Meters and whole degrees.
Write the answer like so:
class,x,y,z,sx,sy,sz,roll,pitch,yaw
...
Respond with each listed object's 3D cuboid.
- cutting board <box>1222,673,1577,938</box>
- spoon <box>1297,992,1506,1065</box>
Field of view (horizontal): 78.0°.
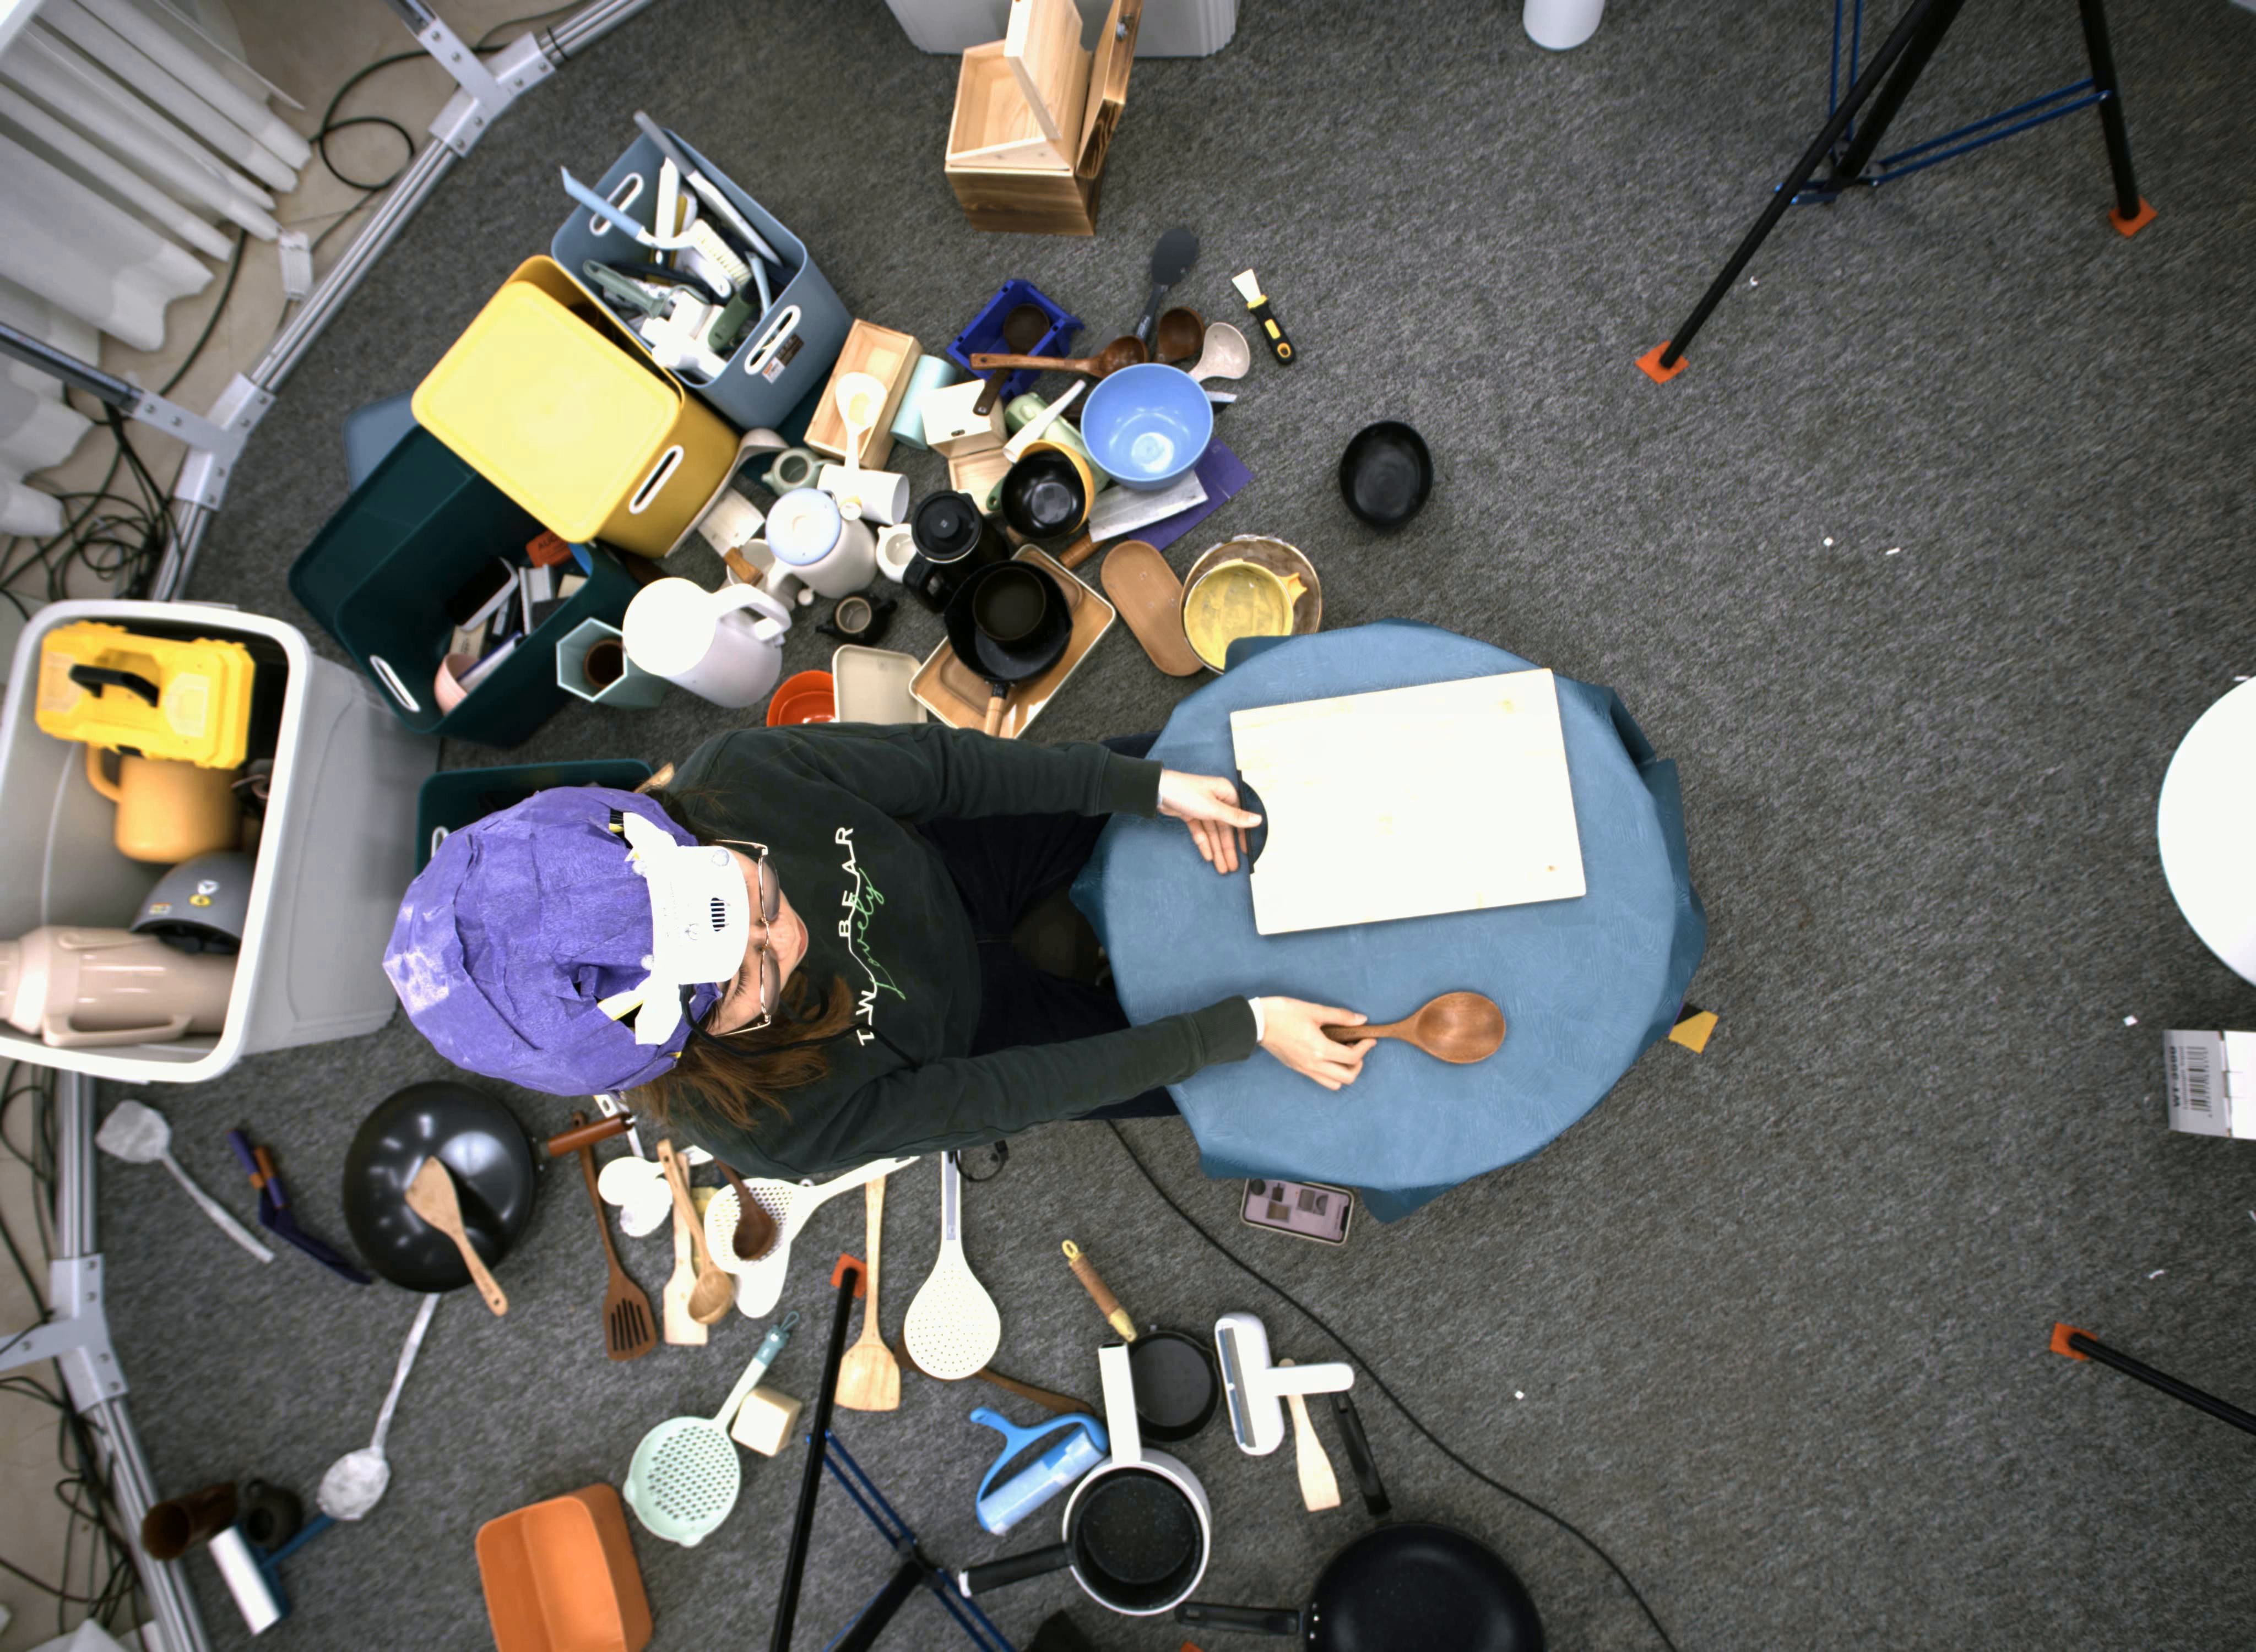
class,x,y,z,sx,sy,sz,roll,pitch,yaw
cutting board,0.286,-0.022,1.454,0.350,0.023,0.249,-8,84,8
spoon,0.284,0.213,1.443,0.217,0.017,0.075,-5,87,9
